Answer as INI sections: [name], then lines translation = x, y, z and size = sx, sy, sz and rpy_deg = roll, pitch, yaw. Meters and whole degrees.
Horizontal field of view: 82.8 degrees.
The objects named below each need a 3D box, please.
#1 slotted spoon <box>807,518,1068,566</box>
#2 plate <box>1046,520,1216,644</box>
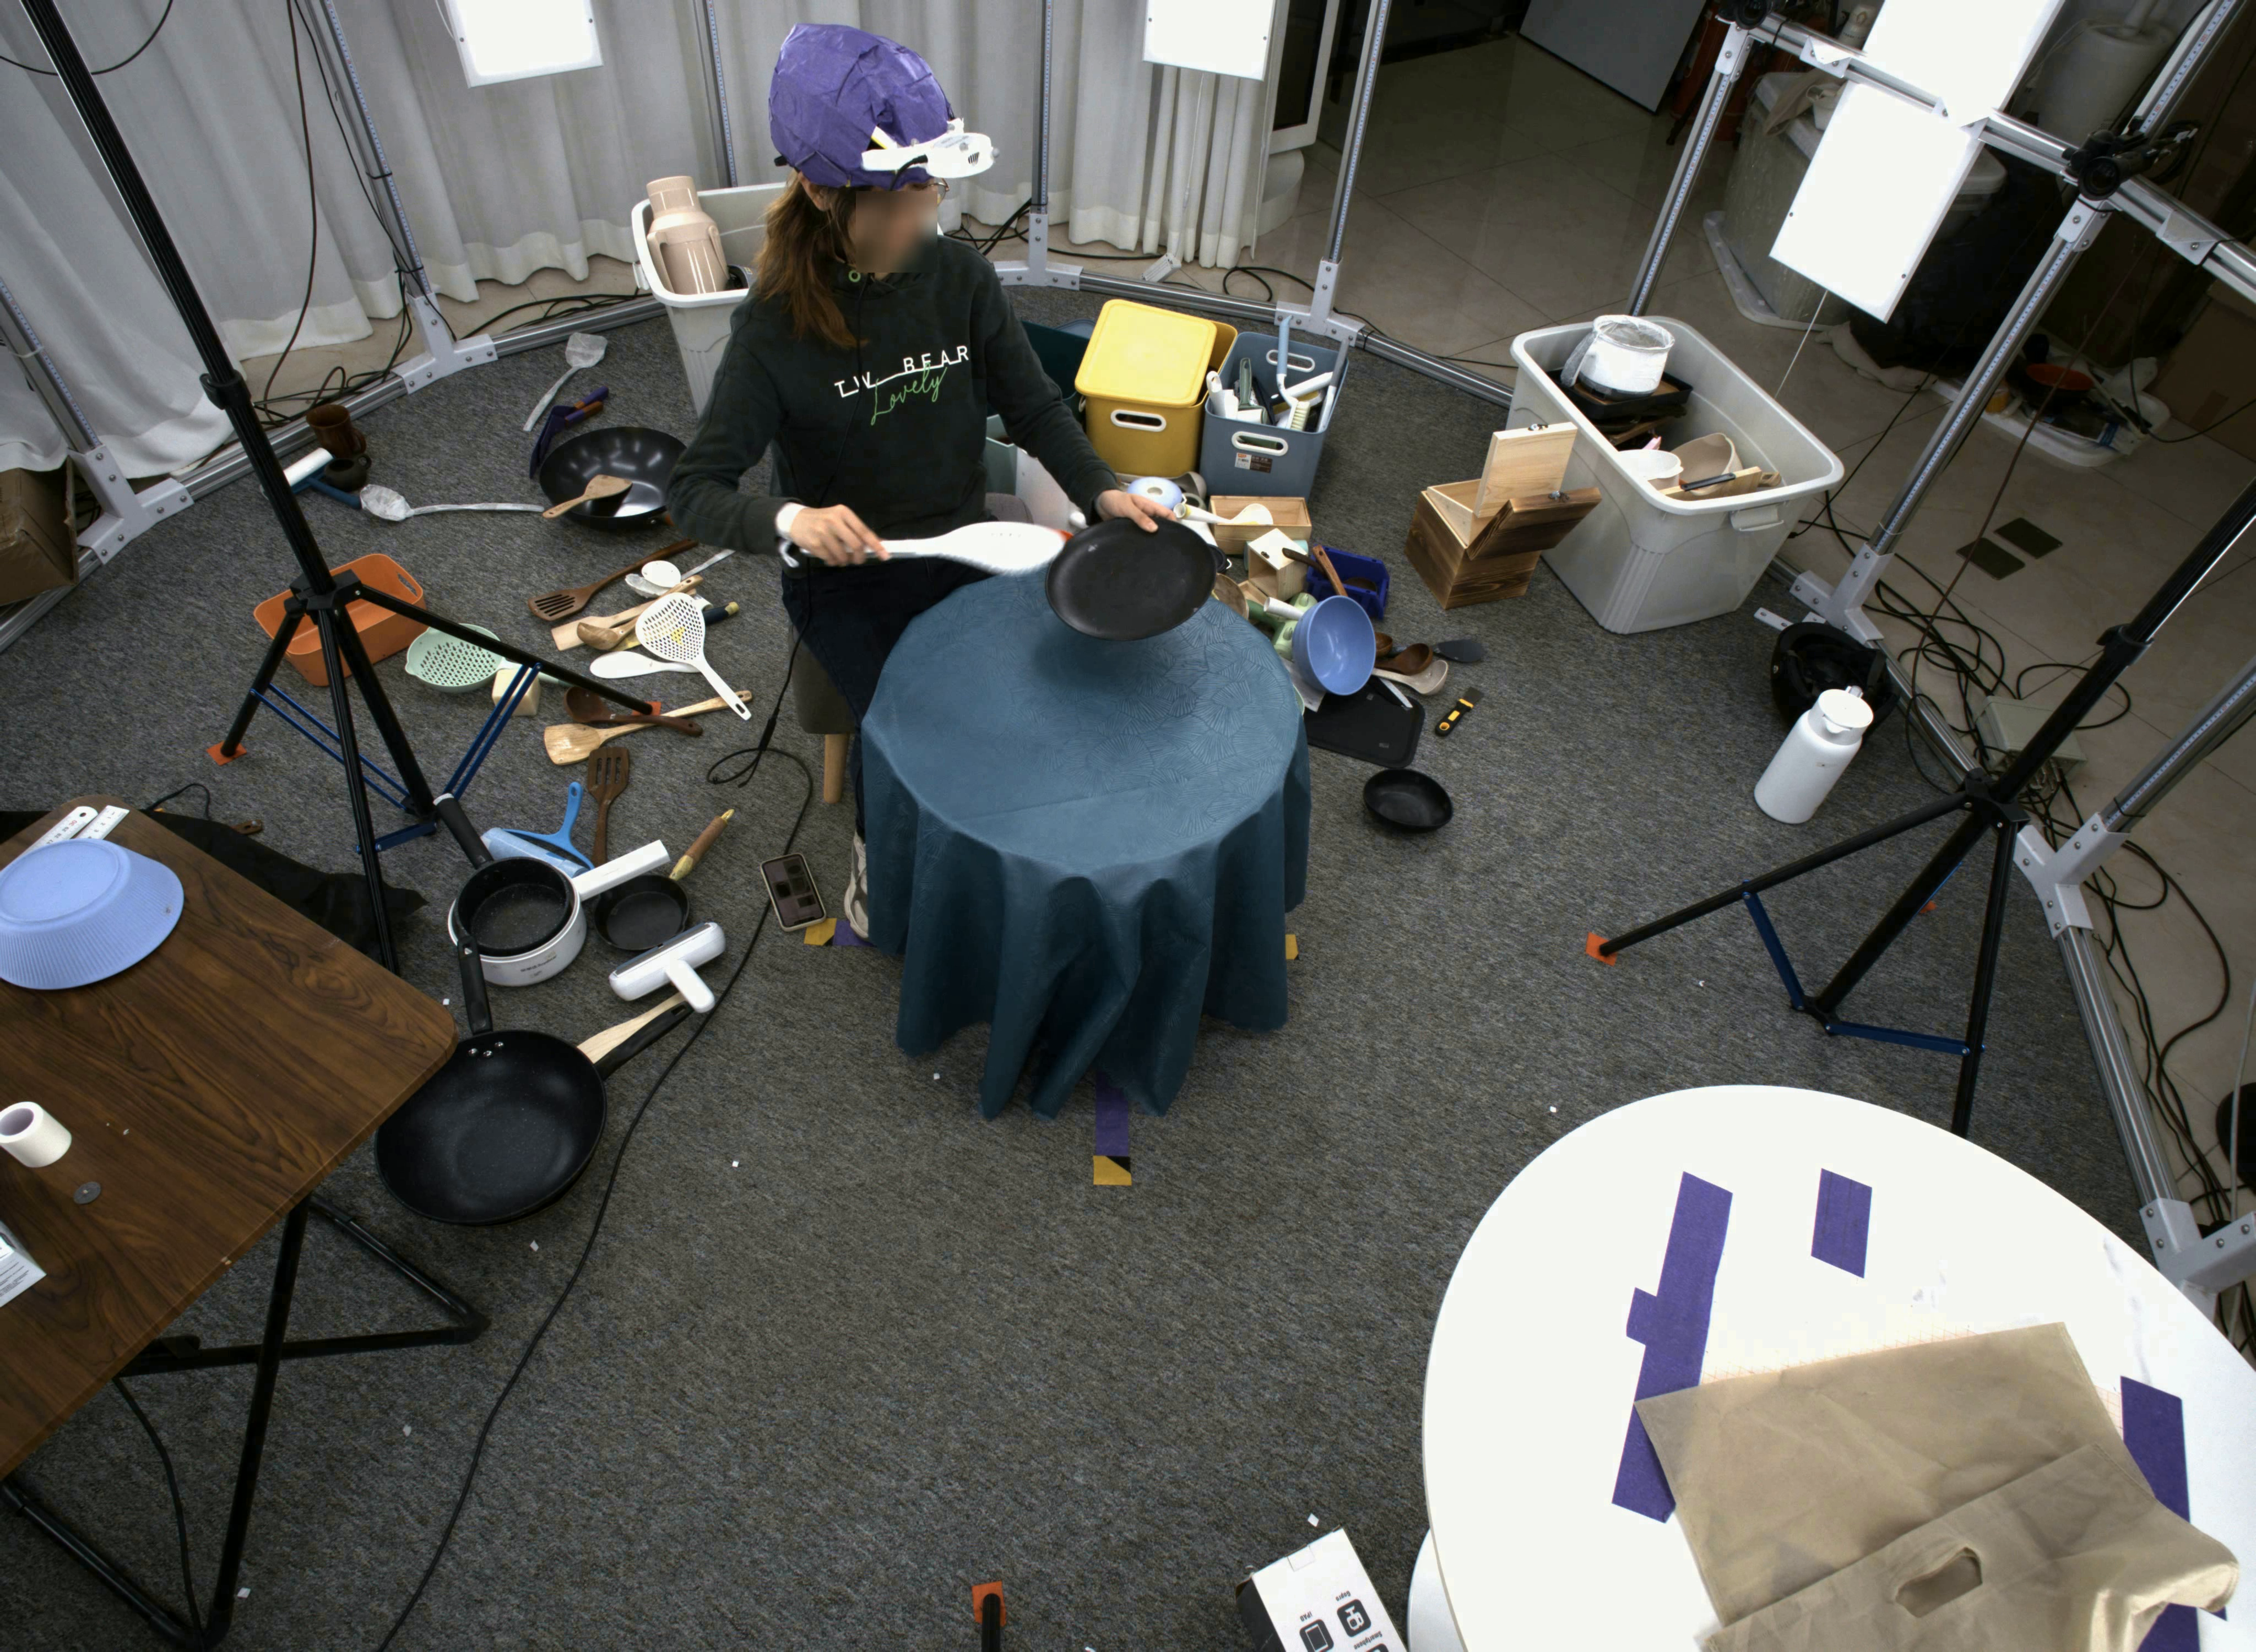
[slotted spoon]
translation = -0.245, -0.358, 1.639
size = 0.351, 0.135, 0.046
rpy_deg = 5, 90, 17
[plate]
translation = 0.005, -0.346, 1.837
size = 0.244, 0.023, 0.250
rpy_deg = -4, 53, 6
